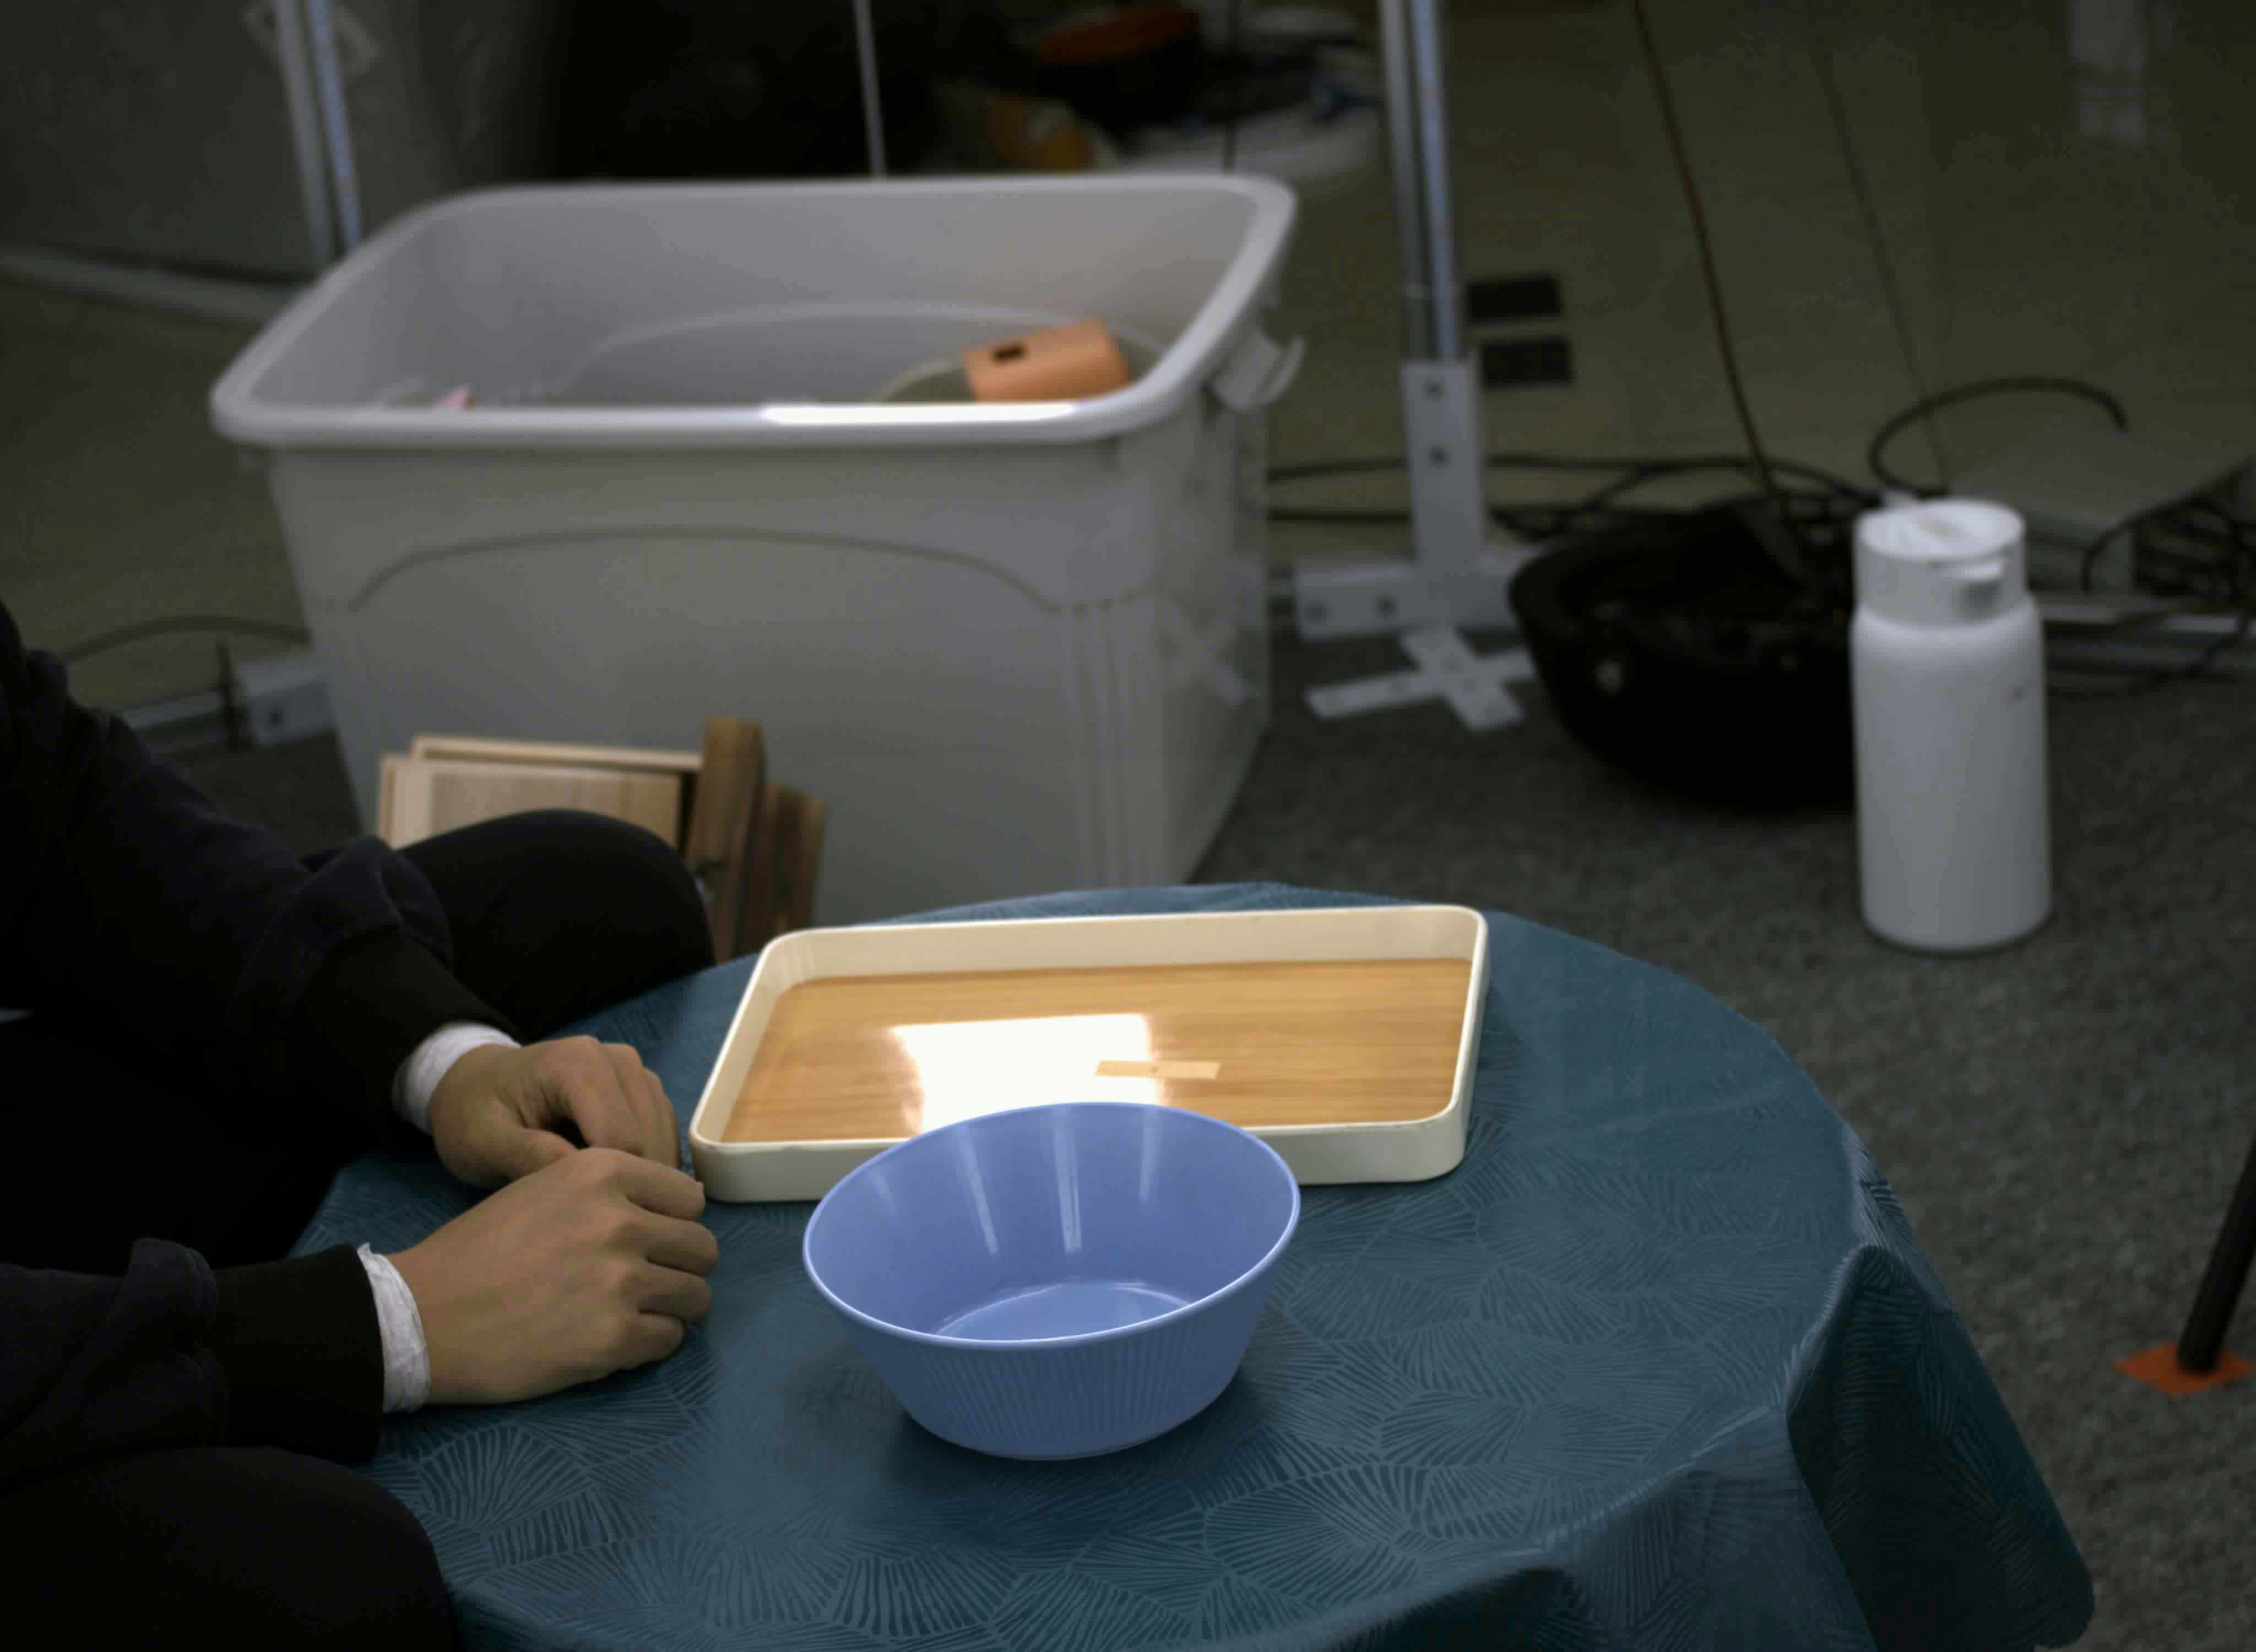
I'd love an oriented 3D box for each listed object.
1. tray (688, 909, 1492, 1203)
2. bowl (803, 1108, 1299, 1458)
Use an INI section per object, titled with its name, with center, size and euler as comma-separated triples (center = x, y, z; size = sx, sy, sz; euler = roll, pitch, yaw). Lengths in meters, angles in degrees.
[tray]
center = -0.011, 0.090, 2.231
size = 0.300, 0.028, 0.189
euler = -2, 25, 9
[bowl]
center = -0.025, 0.168, 2.012
size = 0.176, 0.071, 0.173
euler = -4, 25, 2
